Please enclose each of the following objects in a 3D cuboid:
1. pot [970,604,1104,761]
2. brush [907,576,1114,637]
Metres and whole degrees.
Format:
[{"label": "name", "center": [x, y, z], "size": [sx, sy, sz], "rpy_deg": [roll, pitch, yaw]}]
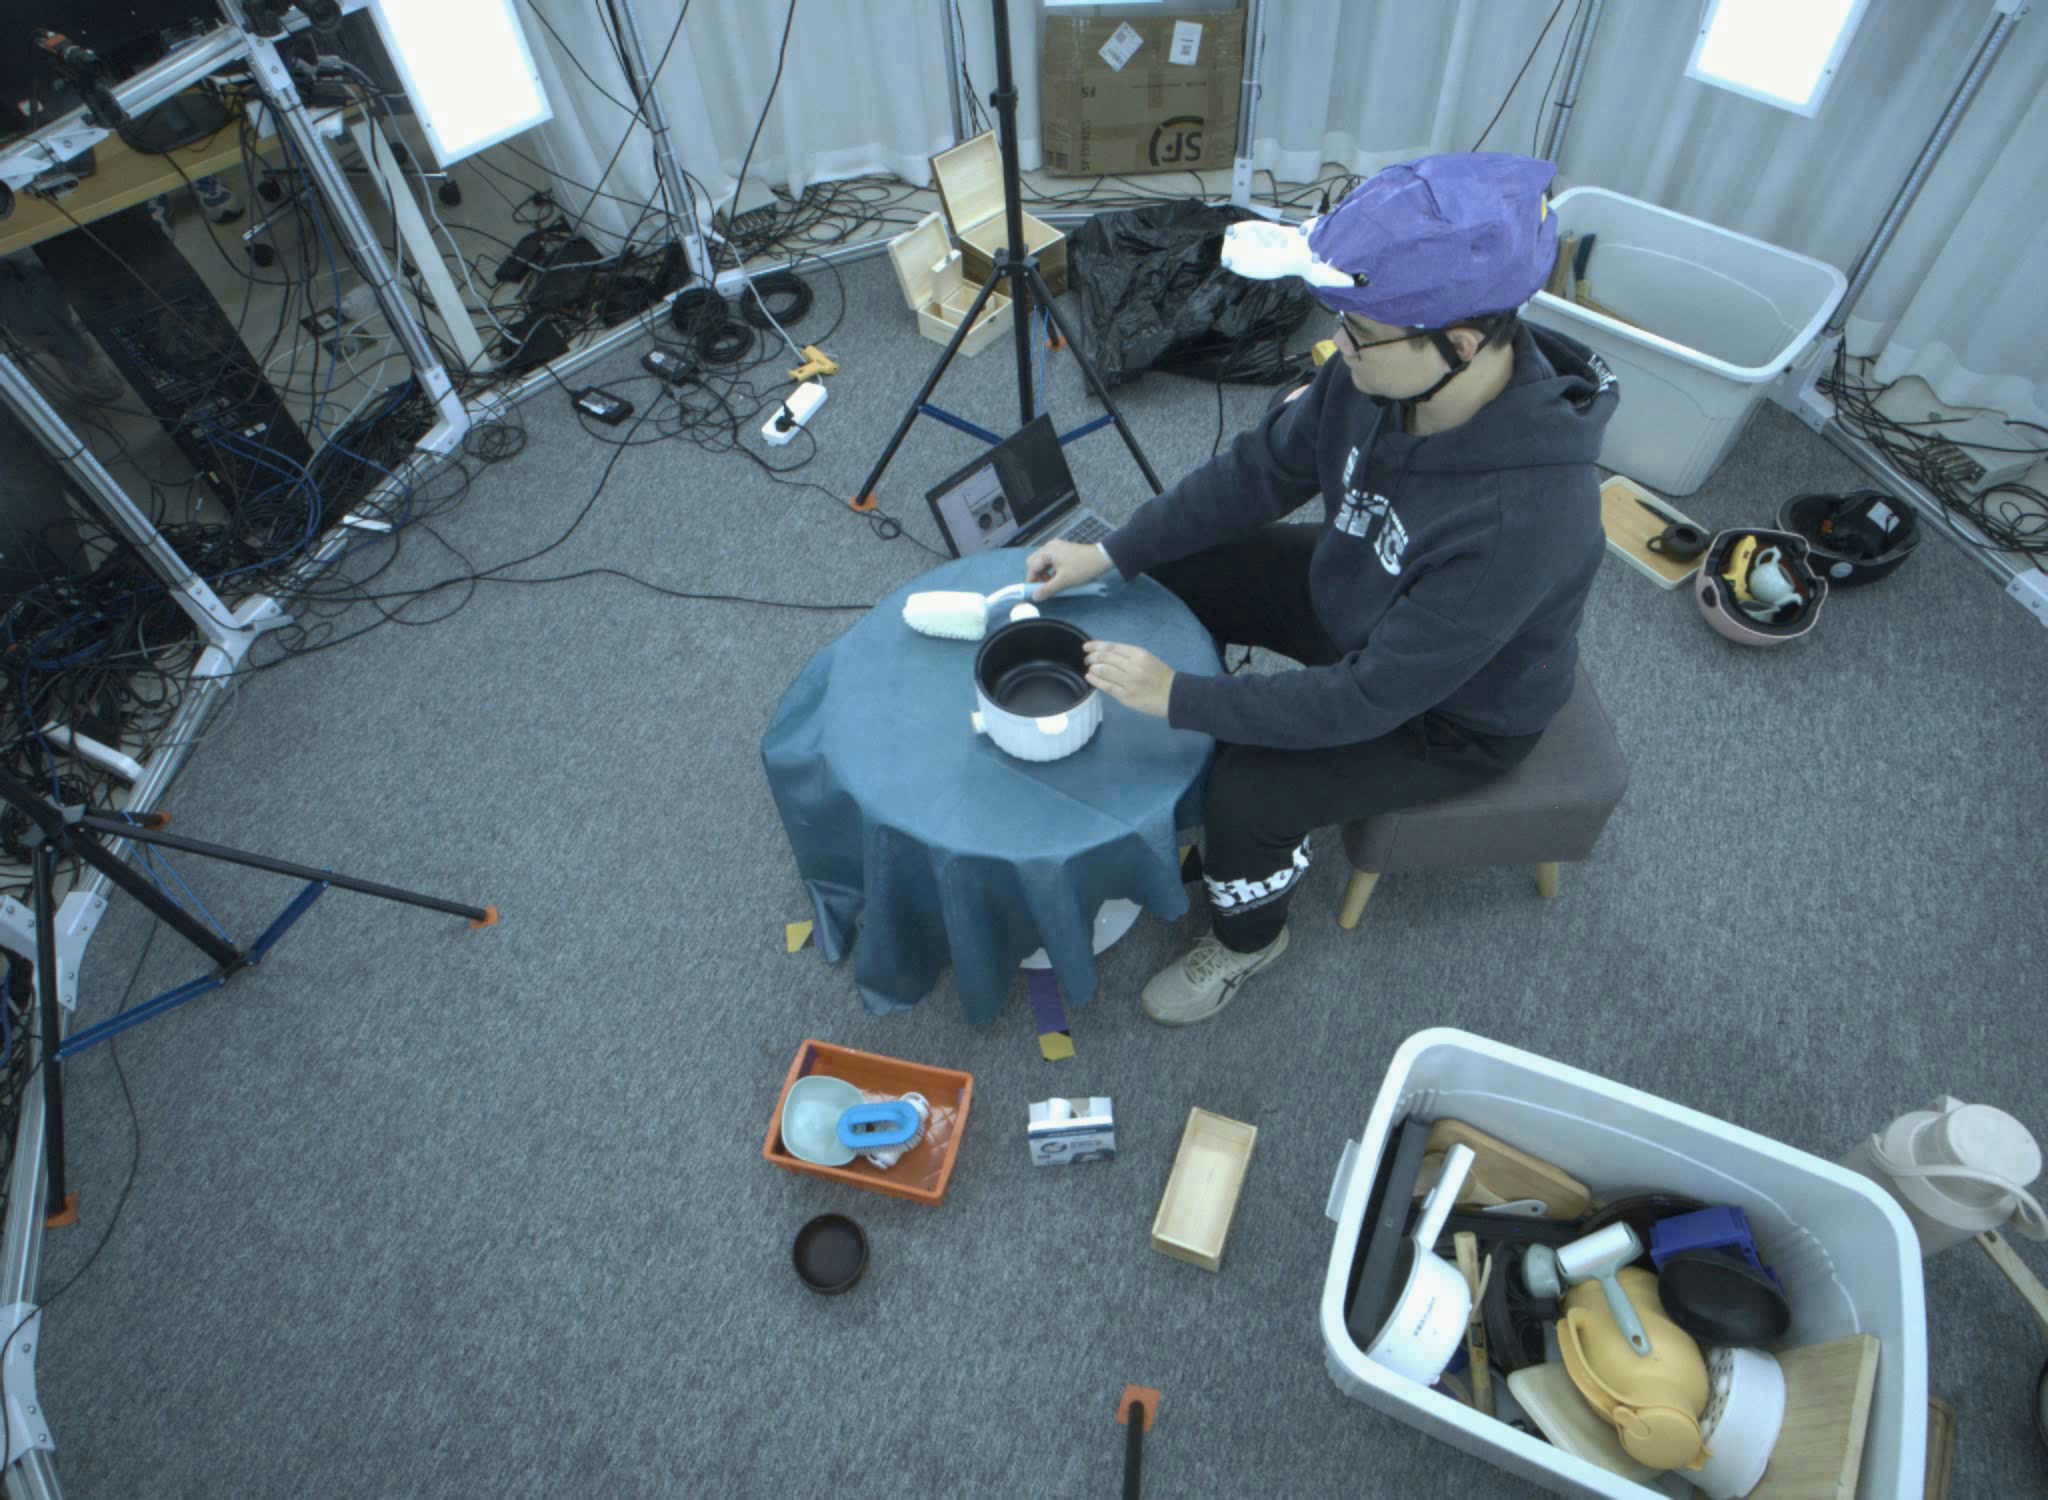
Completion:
[{"label": "pot", "center": [0.017, -0.078, 1.757], "size": [0.192, 0.144, 0.237], "rpy_deg": [-9, 54, -8]}, {"label": "brush", "center": [-0.019, -0.222, 1.900], "size": [0.327, 0.083, 0.084], "rpy_deg": [-5, 91, -5]}]
